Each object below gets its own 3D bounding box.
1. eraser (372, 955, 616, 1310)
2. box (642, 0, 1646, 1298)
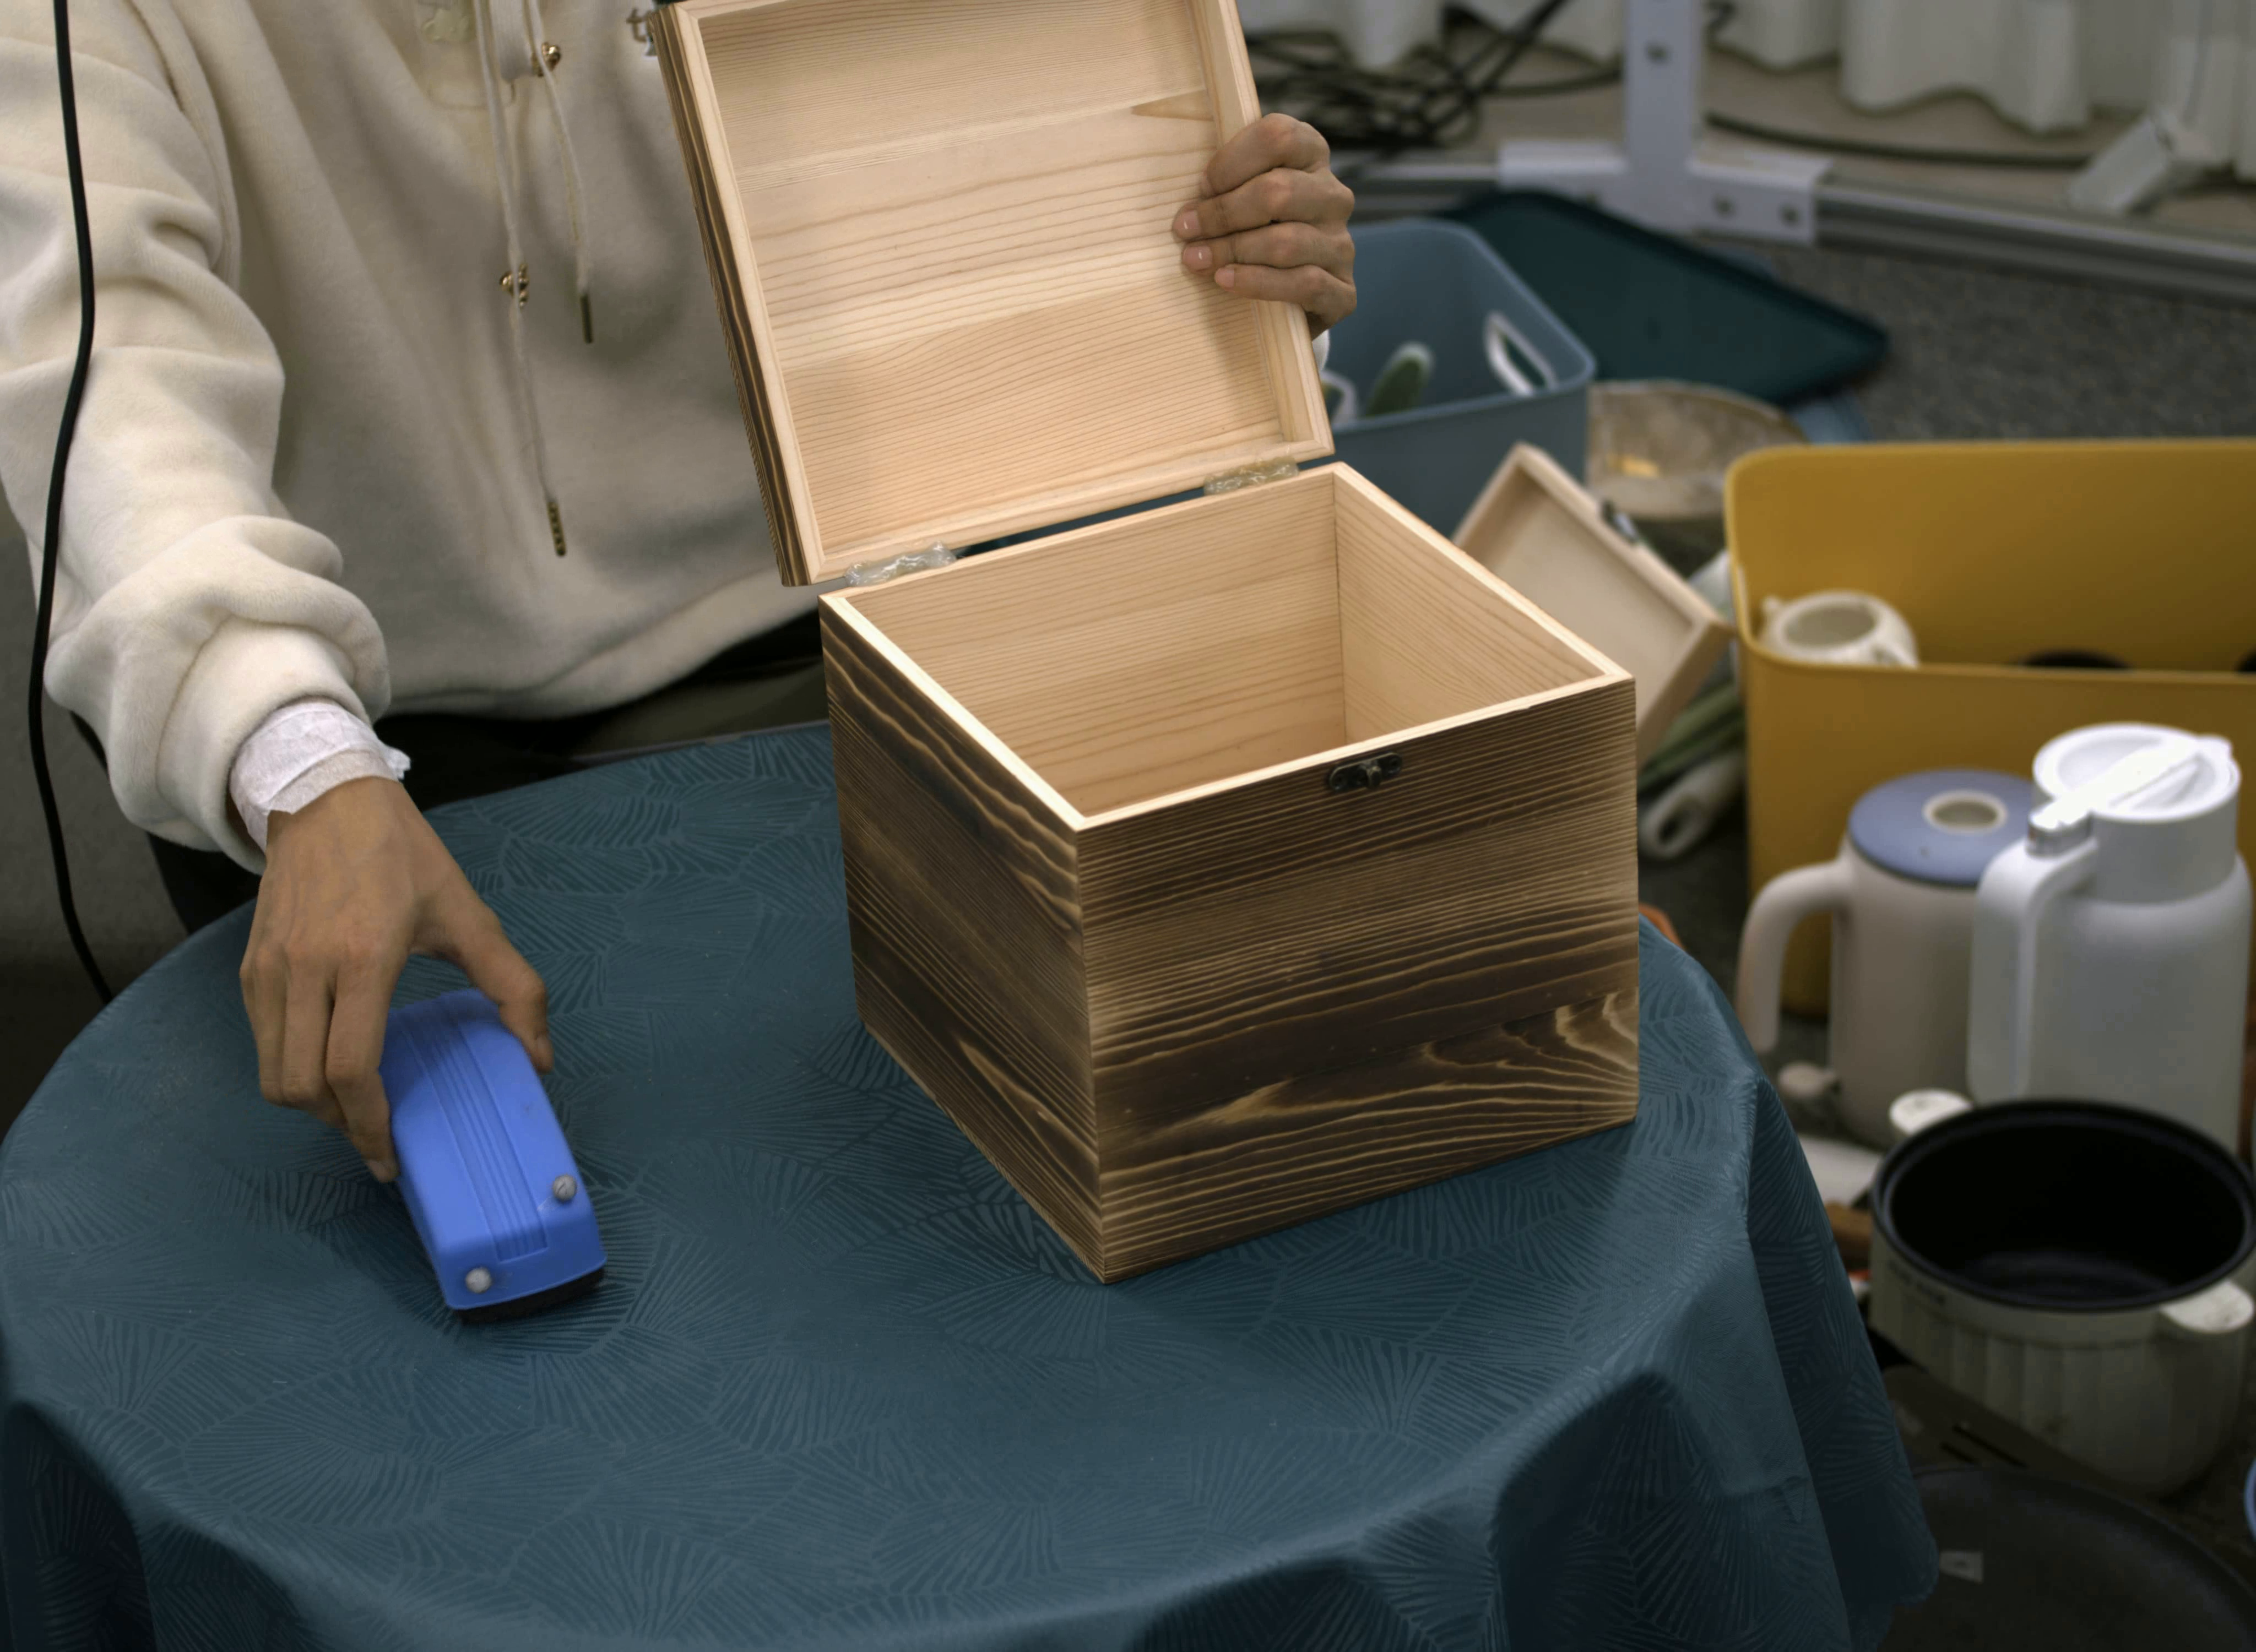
[{"bbox_3d":[-0.213,0.096,1.864,0.054,0.047,0.164,-19,33,-7],"label":"eraser"},{"bbox_3d":[0.004,-0.093,1.893,0.210,0.372,0.324,-15,28,-21],"label":"box"}]
